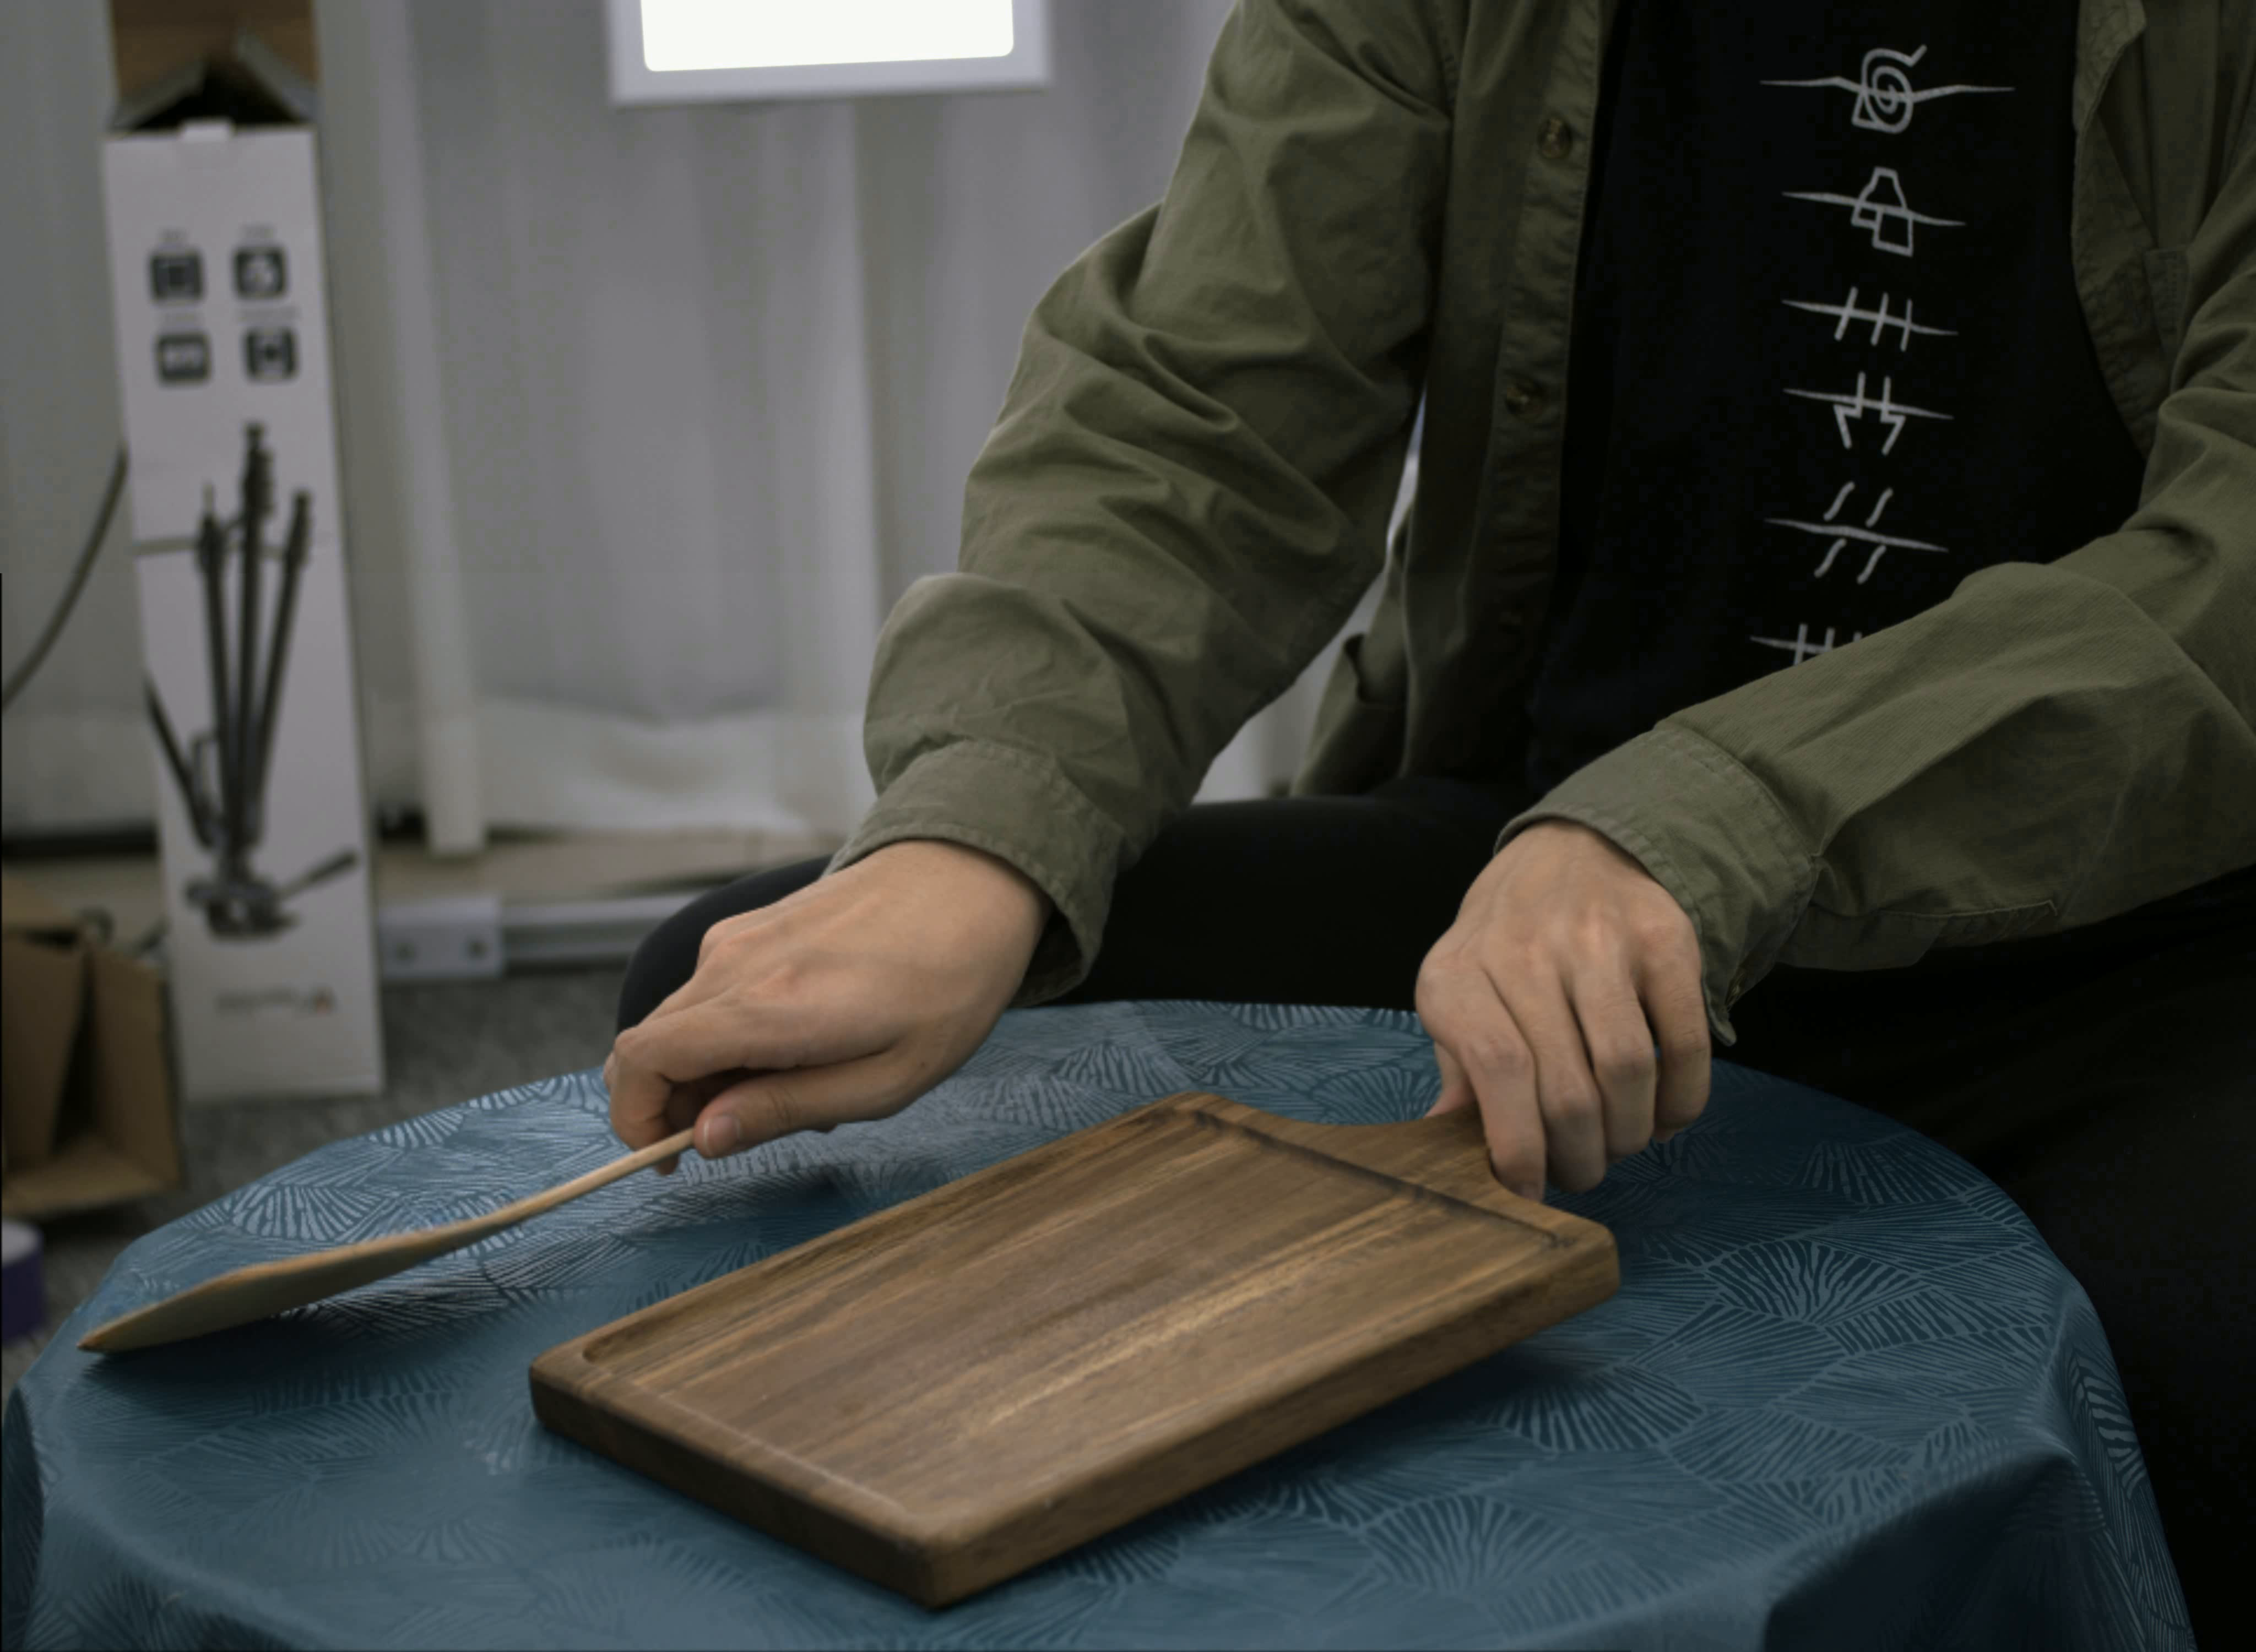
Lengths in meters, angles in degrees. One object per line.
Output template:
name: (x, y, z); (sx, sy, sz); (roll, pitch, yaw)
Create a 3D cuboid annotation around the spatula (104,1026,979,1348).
spatula: (-0.165, 0.106, 1.687); (0.327, 0.016, 0.079); (-20, -4, -43)

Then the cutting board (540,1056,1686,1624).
cutting board: (0.028, 0.130, 1.557); (0.351, 0.023, 0.202); (-20, 22, -34)
